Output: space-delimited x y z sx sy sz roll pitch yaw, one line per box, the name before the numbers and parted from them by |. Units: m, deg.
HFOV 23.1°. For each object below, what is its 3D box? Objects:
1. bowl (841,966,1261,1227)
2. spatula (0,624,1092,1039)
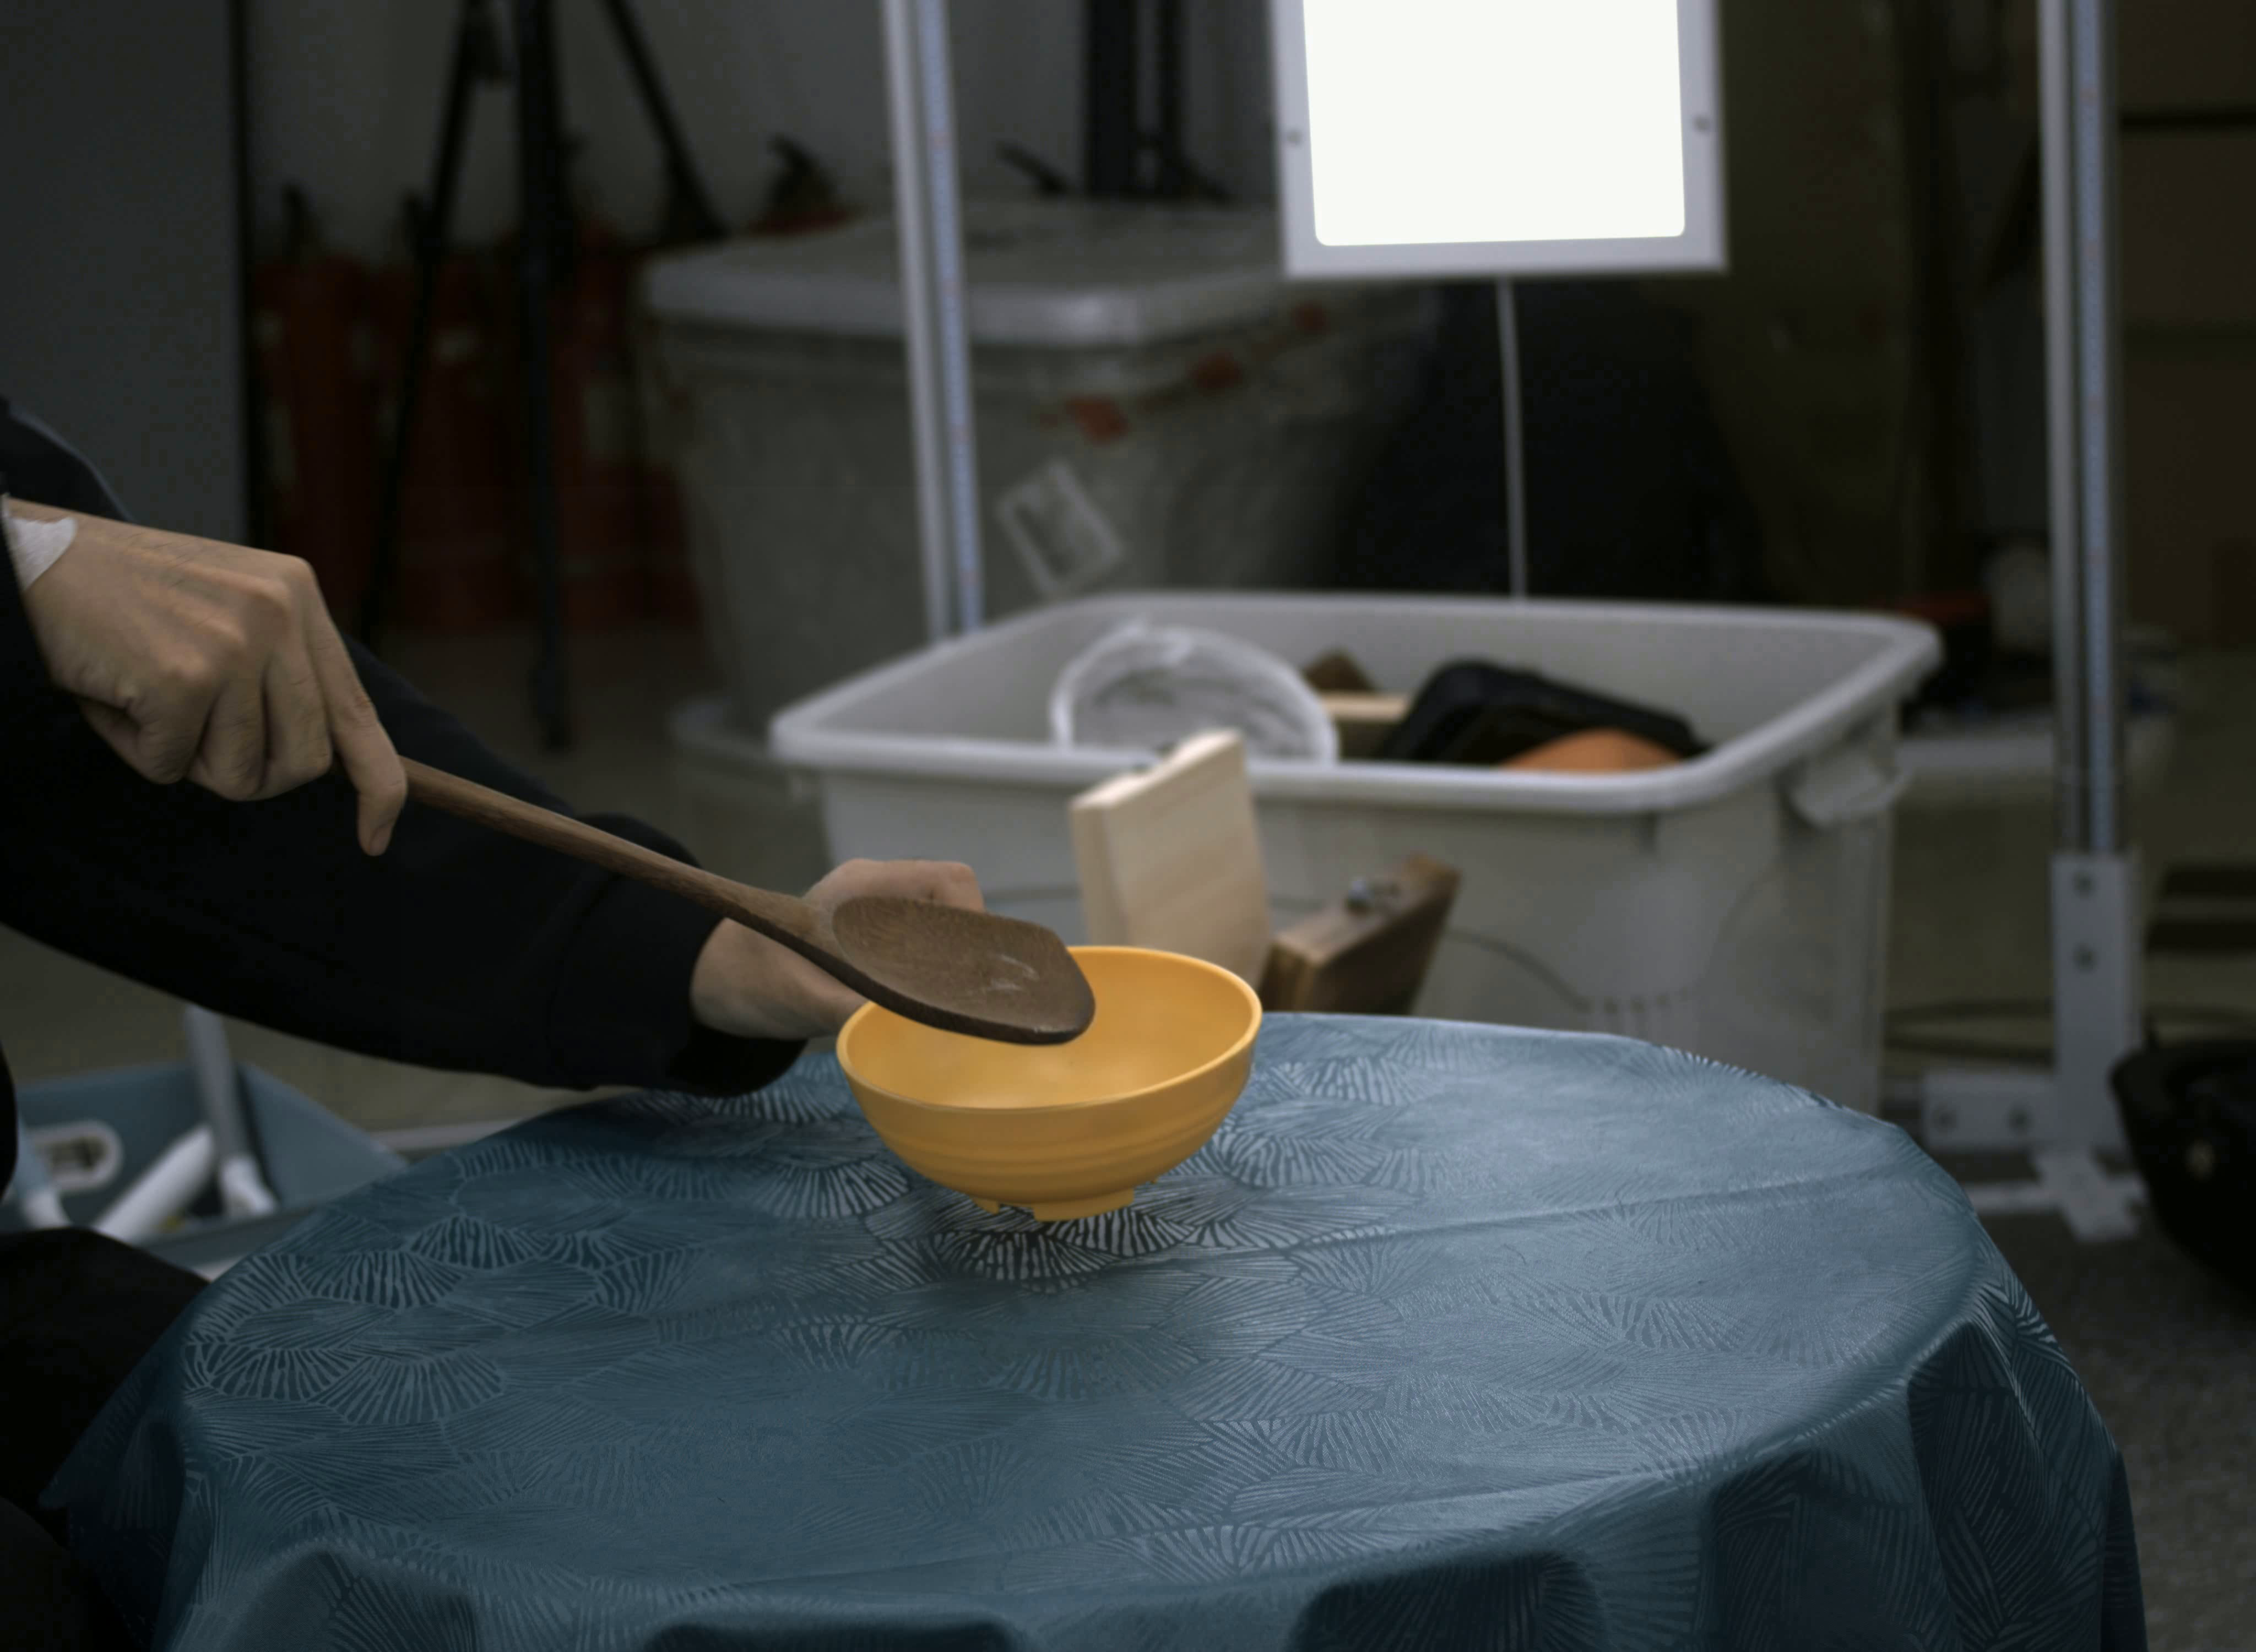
bowl | -0.024 0.097 1.867 0.145 0.060 0.145 -6 17 0
spatula | -0.190 -0.001 1.771 0.382 0.016 0.096 19 19 -11
